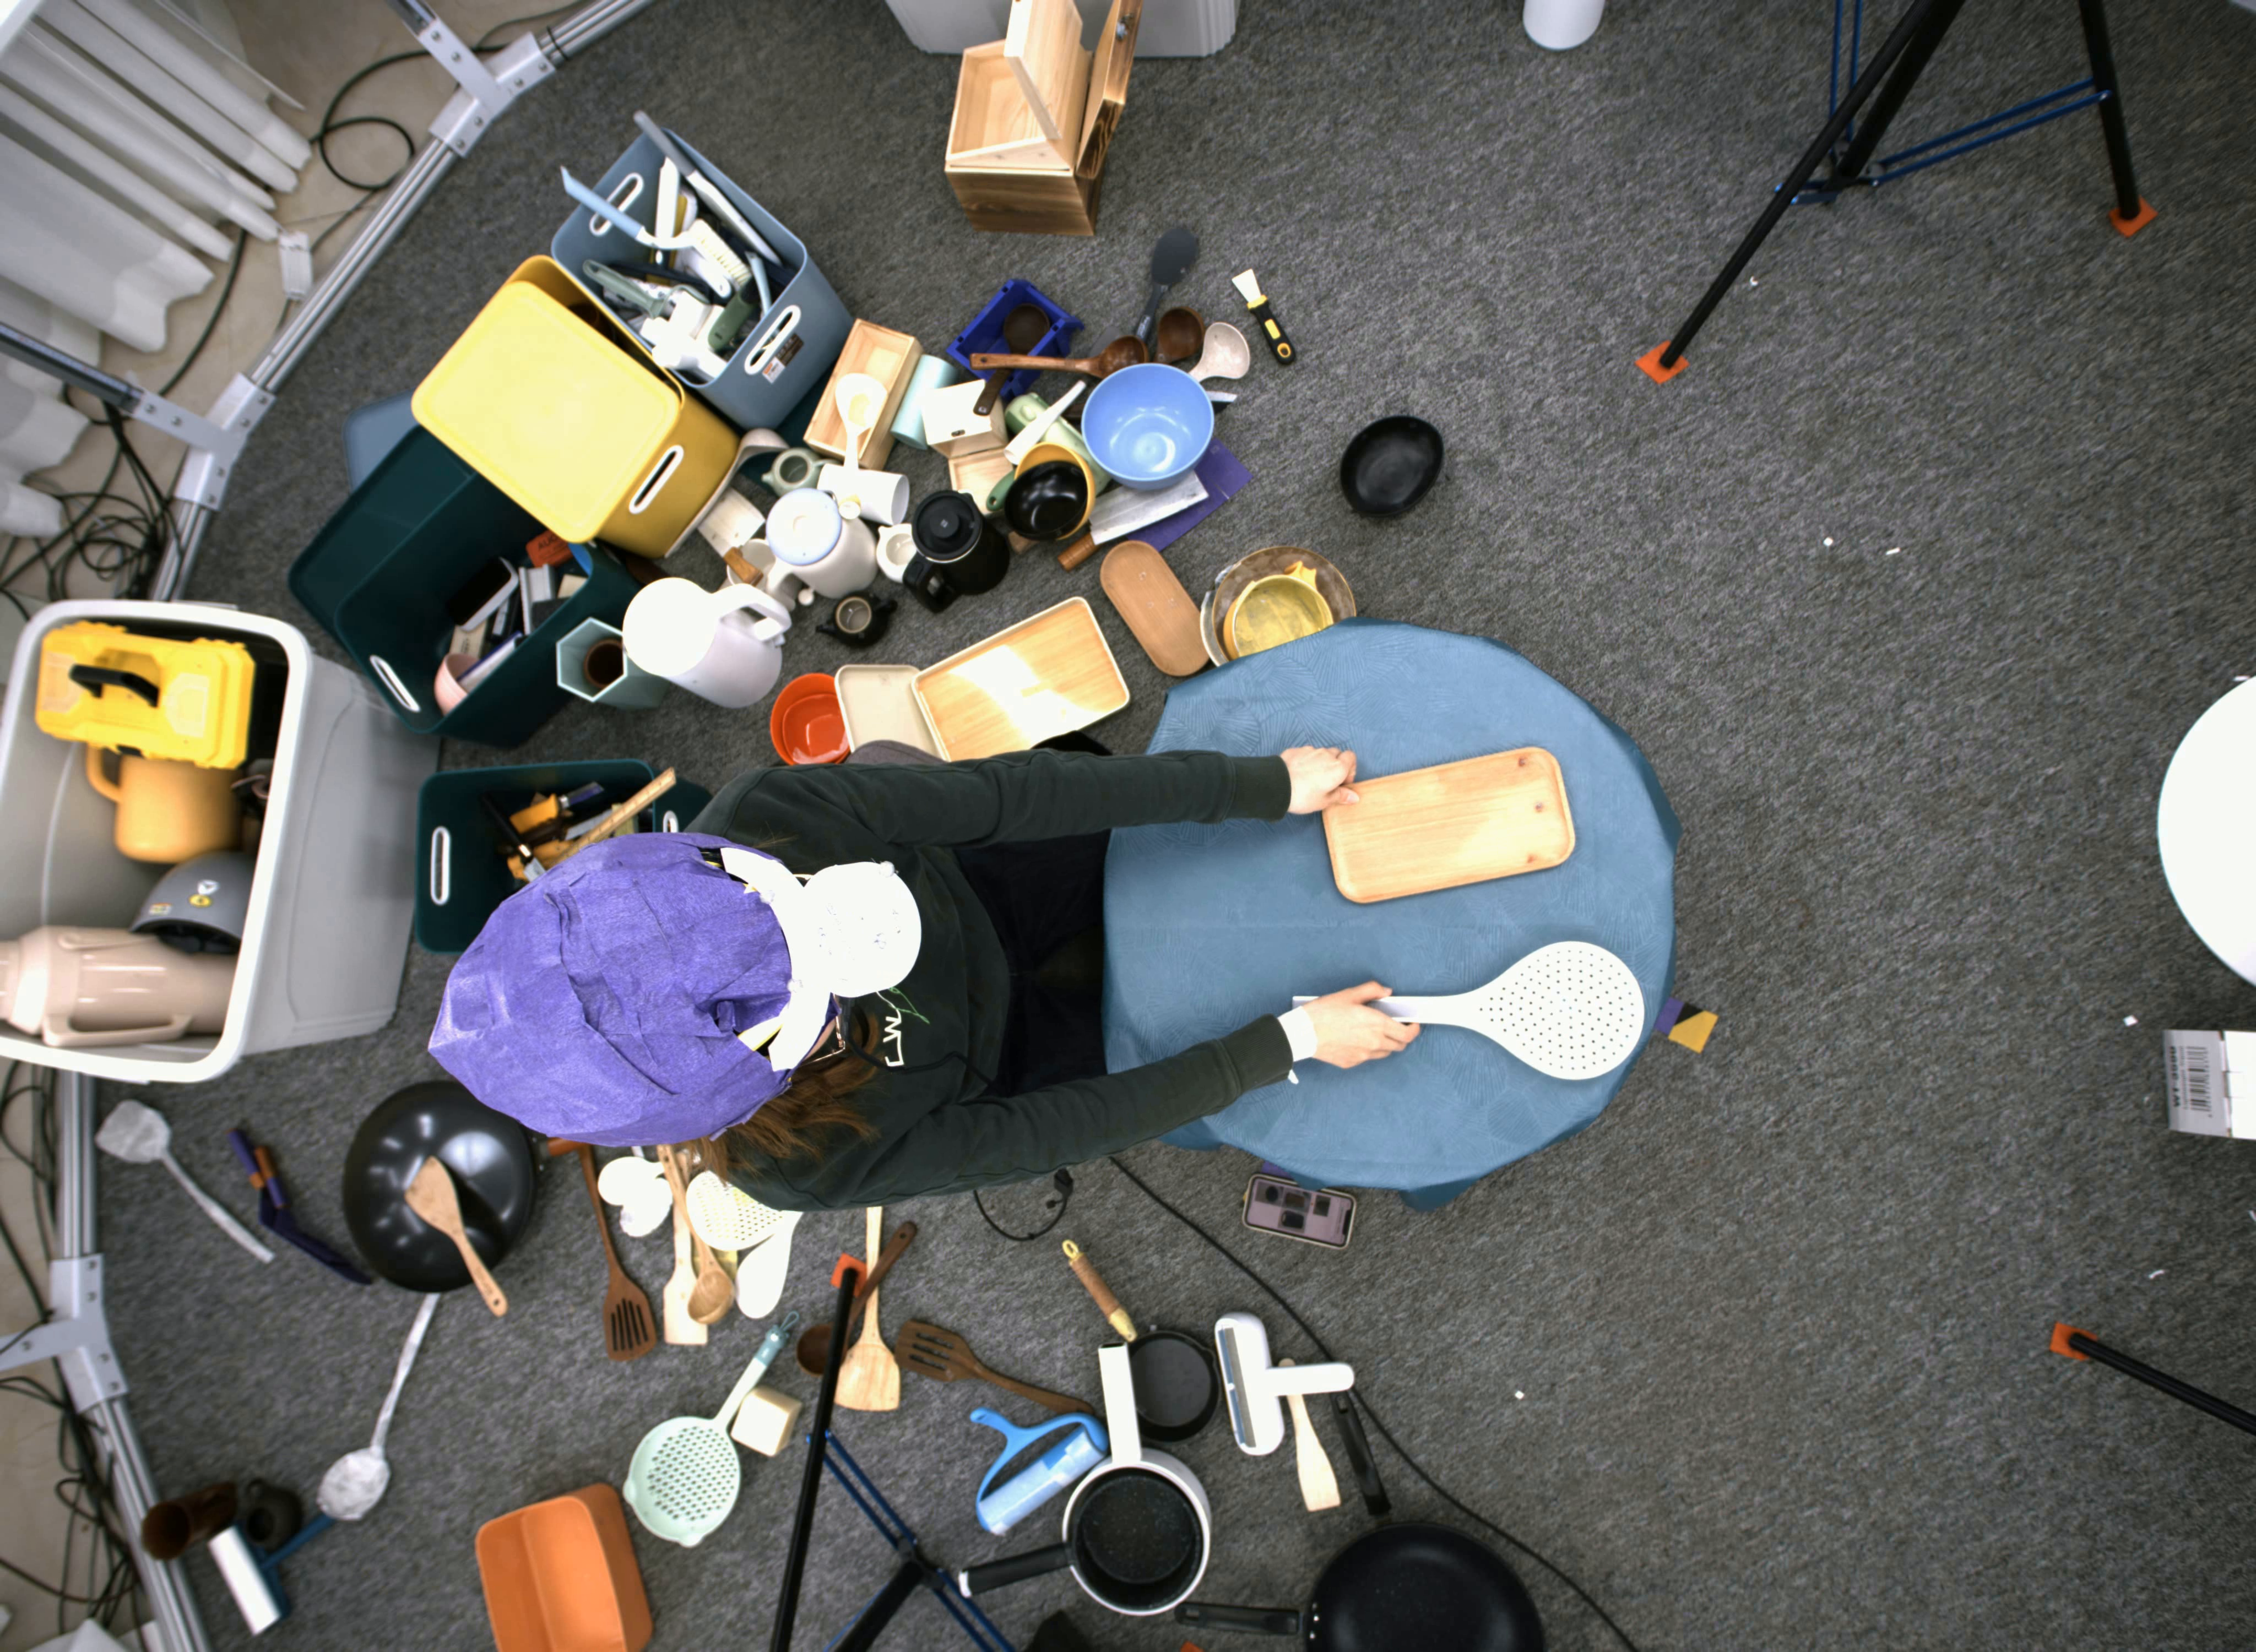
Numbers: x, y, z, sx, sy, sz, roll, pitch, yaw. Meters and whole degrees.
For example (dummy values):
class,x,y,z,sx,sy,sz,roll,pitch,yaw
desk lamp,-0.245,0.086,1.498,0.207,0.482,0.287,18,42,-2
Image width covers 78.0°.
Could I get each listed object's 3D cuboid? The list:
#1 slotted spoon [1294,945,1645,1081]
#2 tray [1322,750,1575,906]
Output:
class,x,y,z,sx,sy,sz,roll,pitch,yaw
slotted spoon,0.346,0.189,1.420,0.351,0.046,0.135,-1,86,11
tray,0.336,0.001,1.448,0.252,0.023,0.129,-12,84,10
